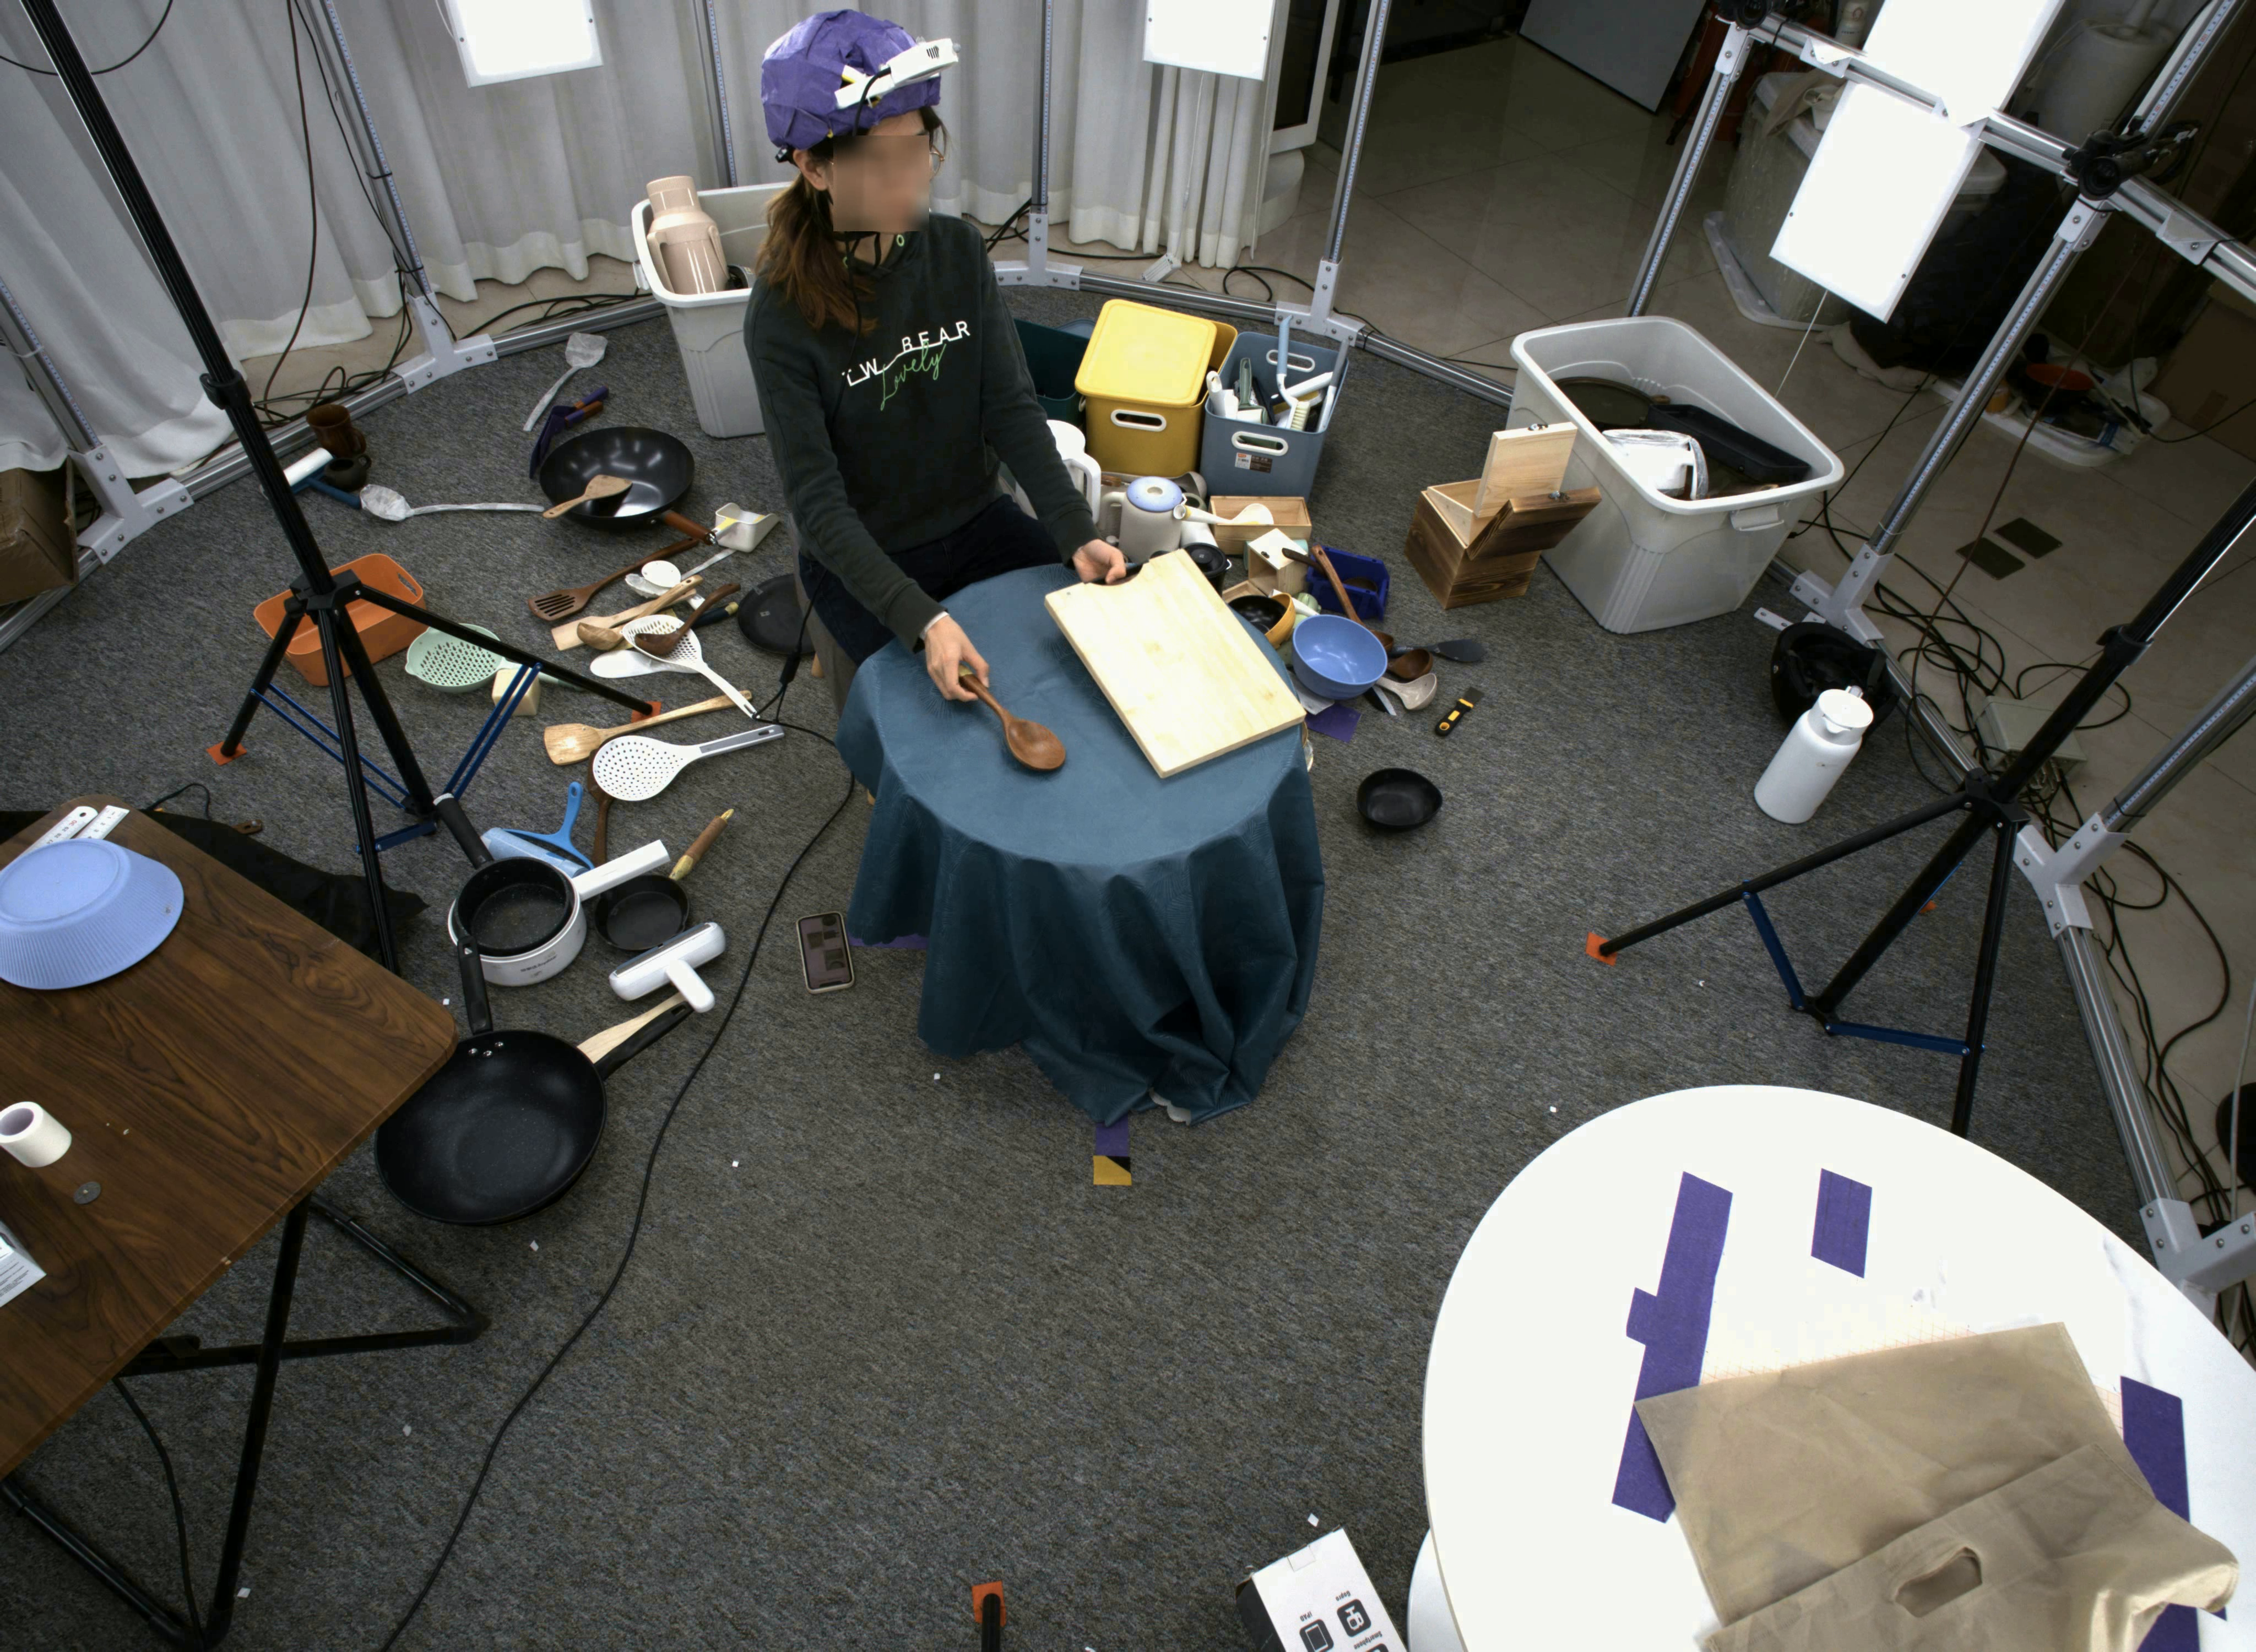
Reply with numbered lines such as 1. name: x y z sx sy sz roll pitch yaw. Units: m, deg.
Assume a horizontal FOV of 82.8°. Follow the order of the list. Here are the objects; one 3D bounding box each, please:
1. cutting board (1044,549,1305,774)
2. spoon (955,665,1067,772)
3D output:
1. cutting board: 0.063 -0.245 1.859 0.251 0.023 0.355 -23 62 -23
2. spoon: -0.166 -0.150 1.774 0.076 0.017 0.219 -30 66 -33
